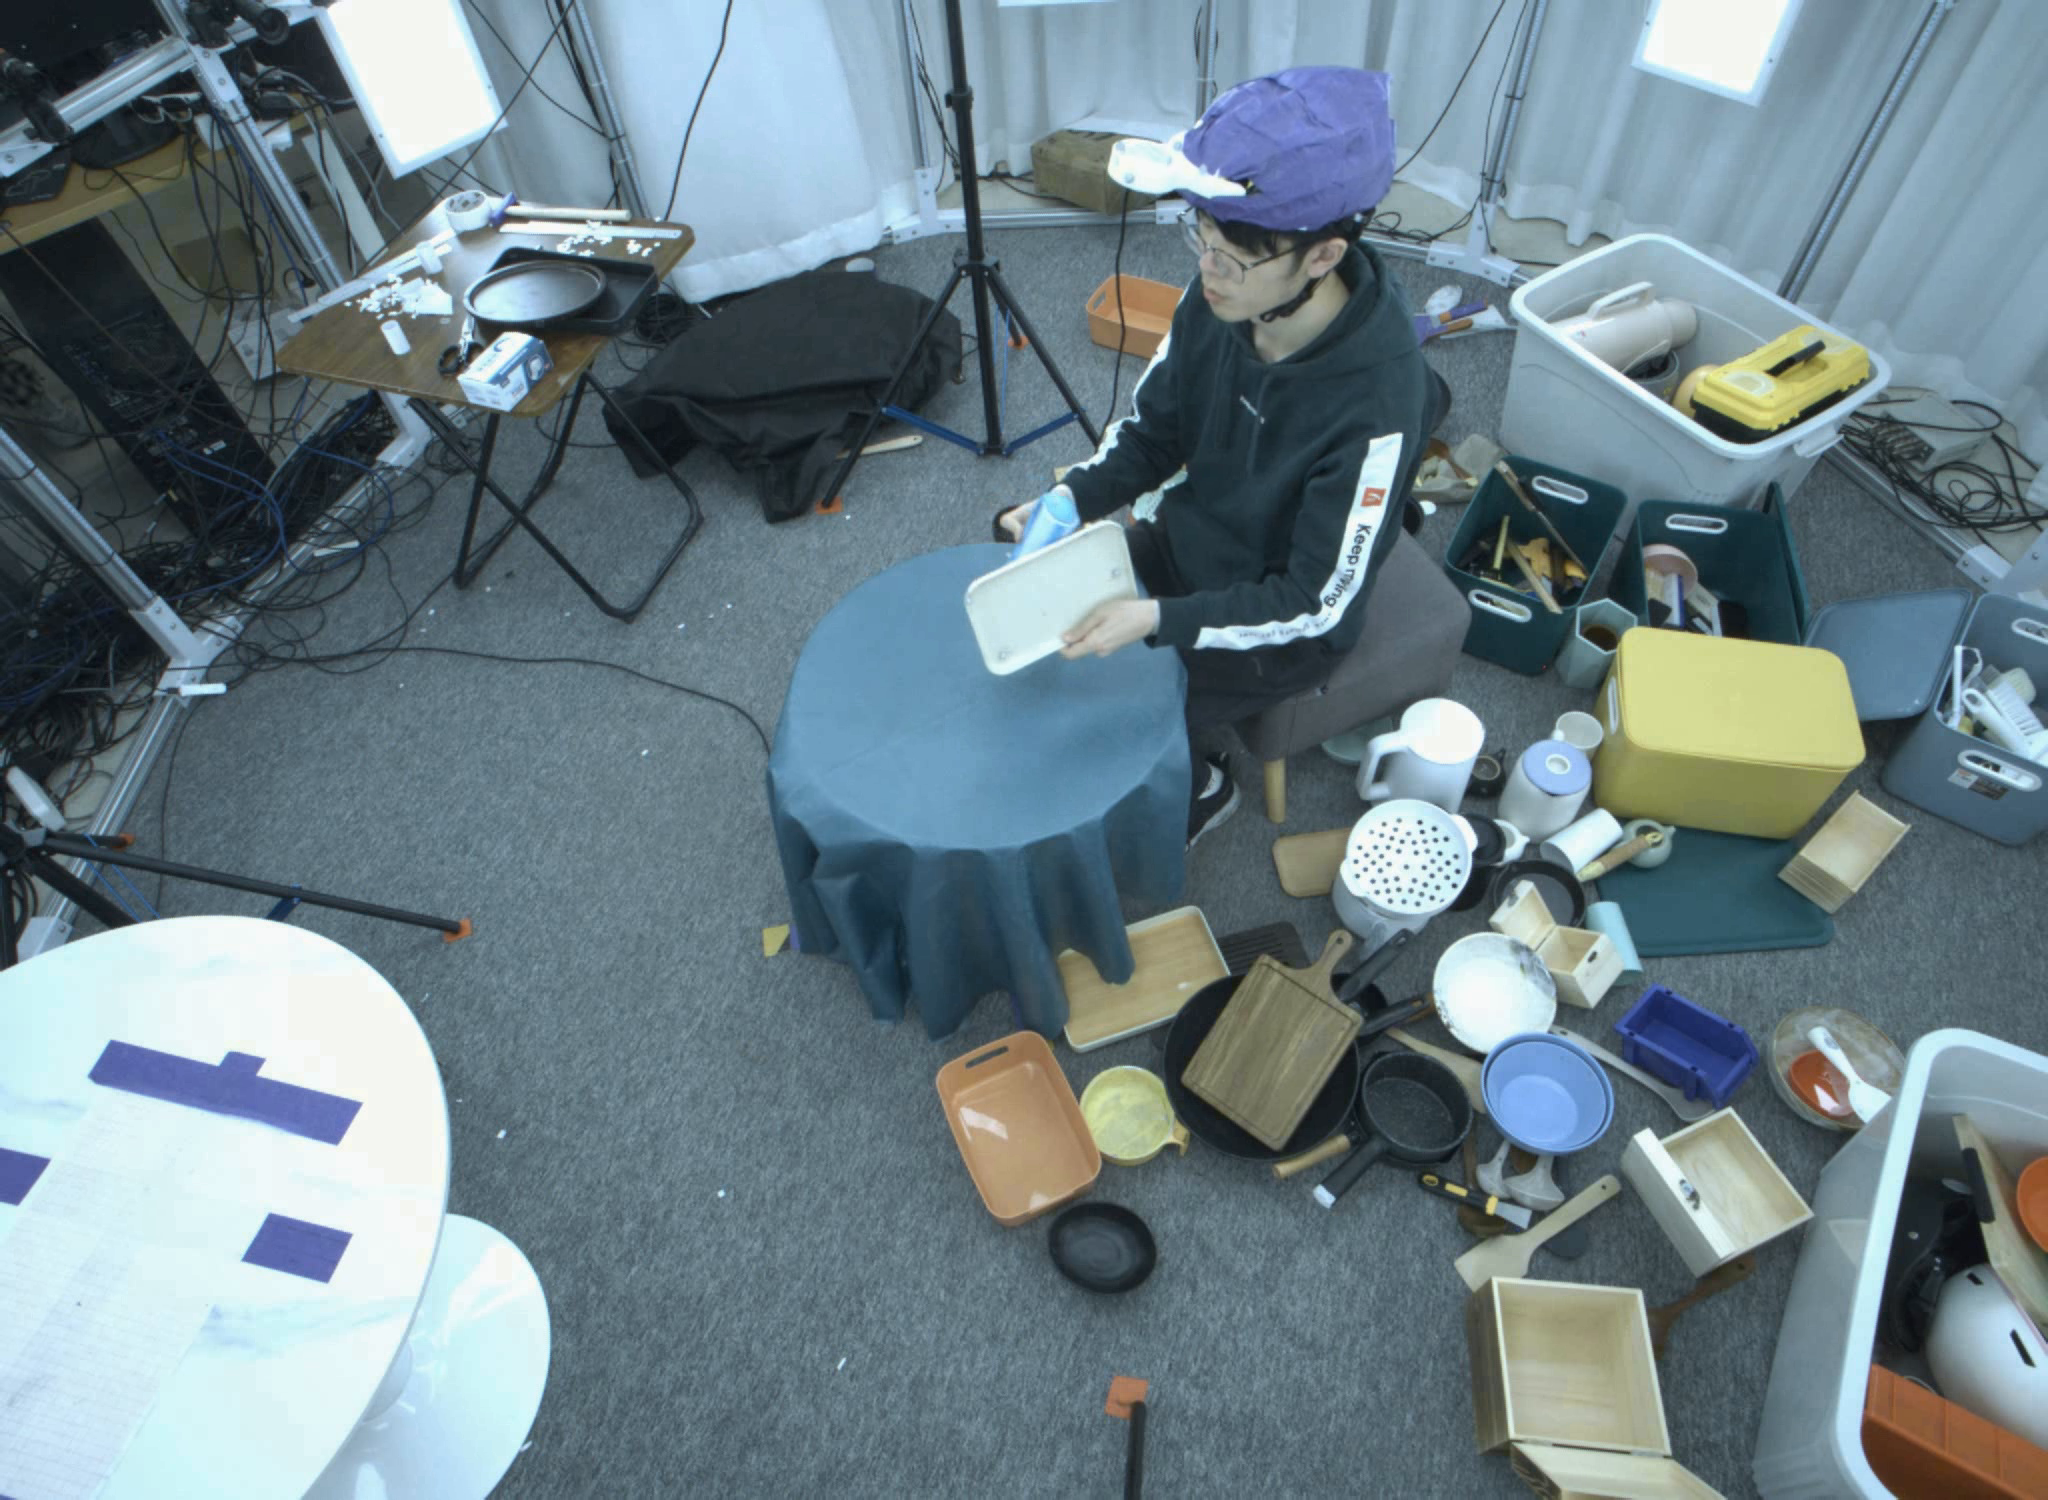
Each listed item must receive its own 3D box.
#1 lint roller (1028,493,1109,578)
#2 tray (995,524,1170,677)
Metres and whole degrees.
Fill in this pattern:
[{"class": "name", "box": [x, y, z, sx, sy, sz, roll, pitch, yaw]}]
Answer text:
[{"class": "lint roller", "box": [0.064, -0.280, 1.718, 0.068, 0.228, 0.180, 30, 38, -1]}, {"class": "tray", "box": [0.080, -0.202, 1.665, 0.241, 0.174, 0.017, -25, 46, -8]}]
